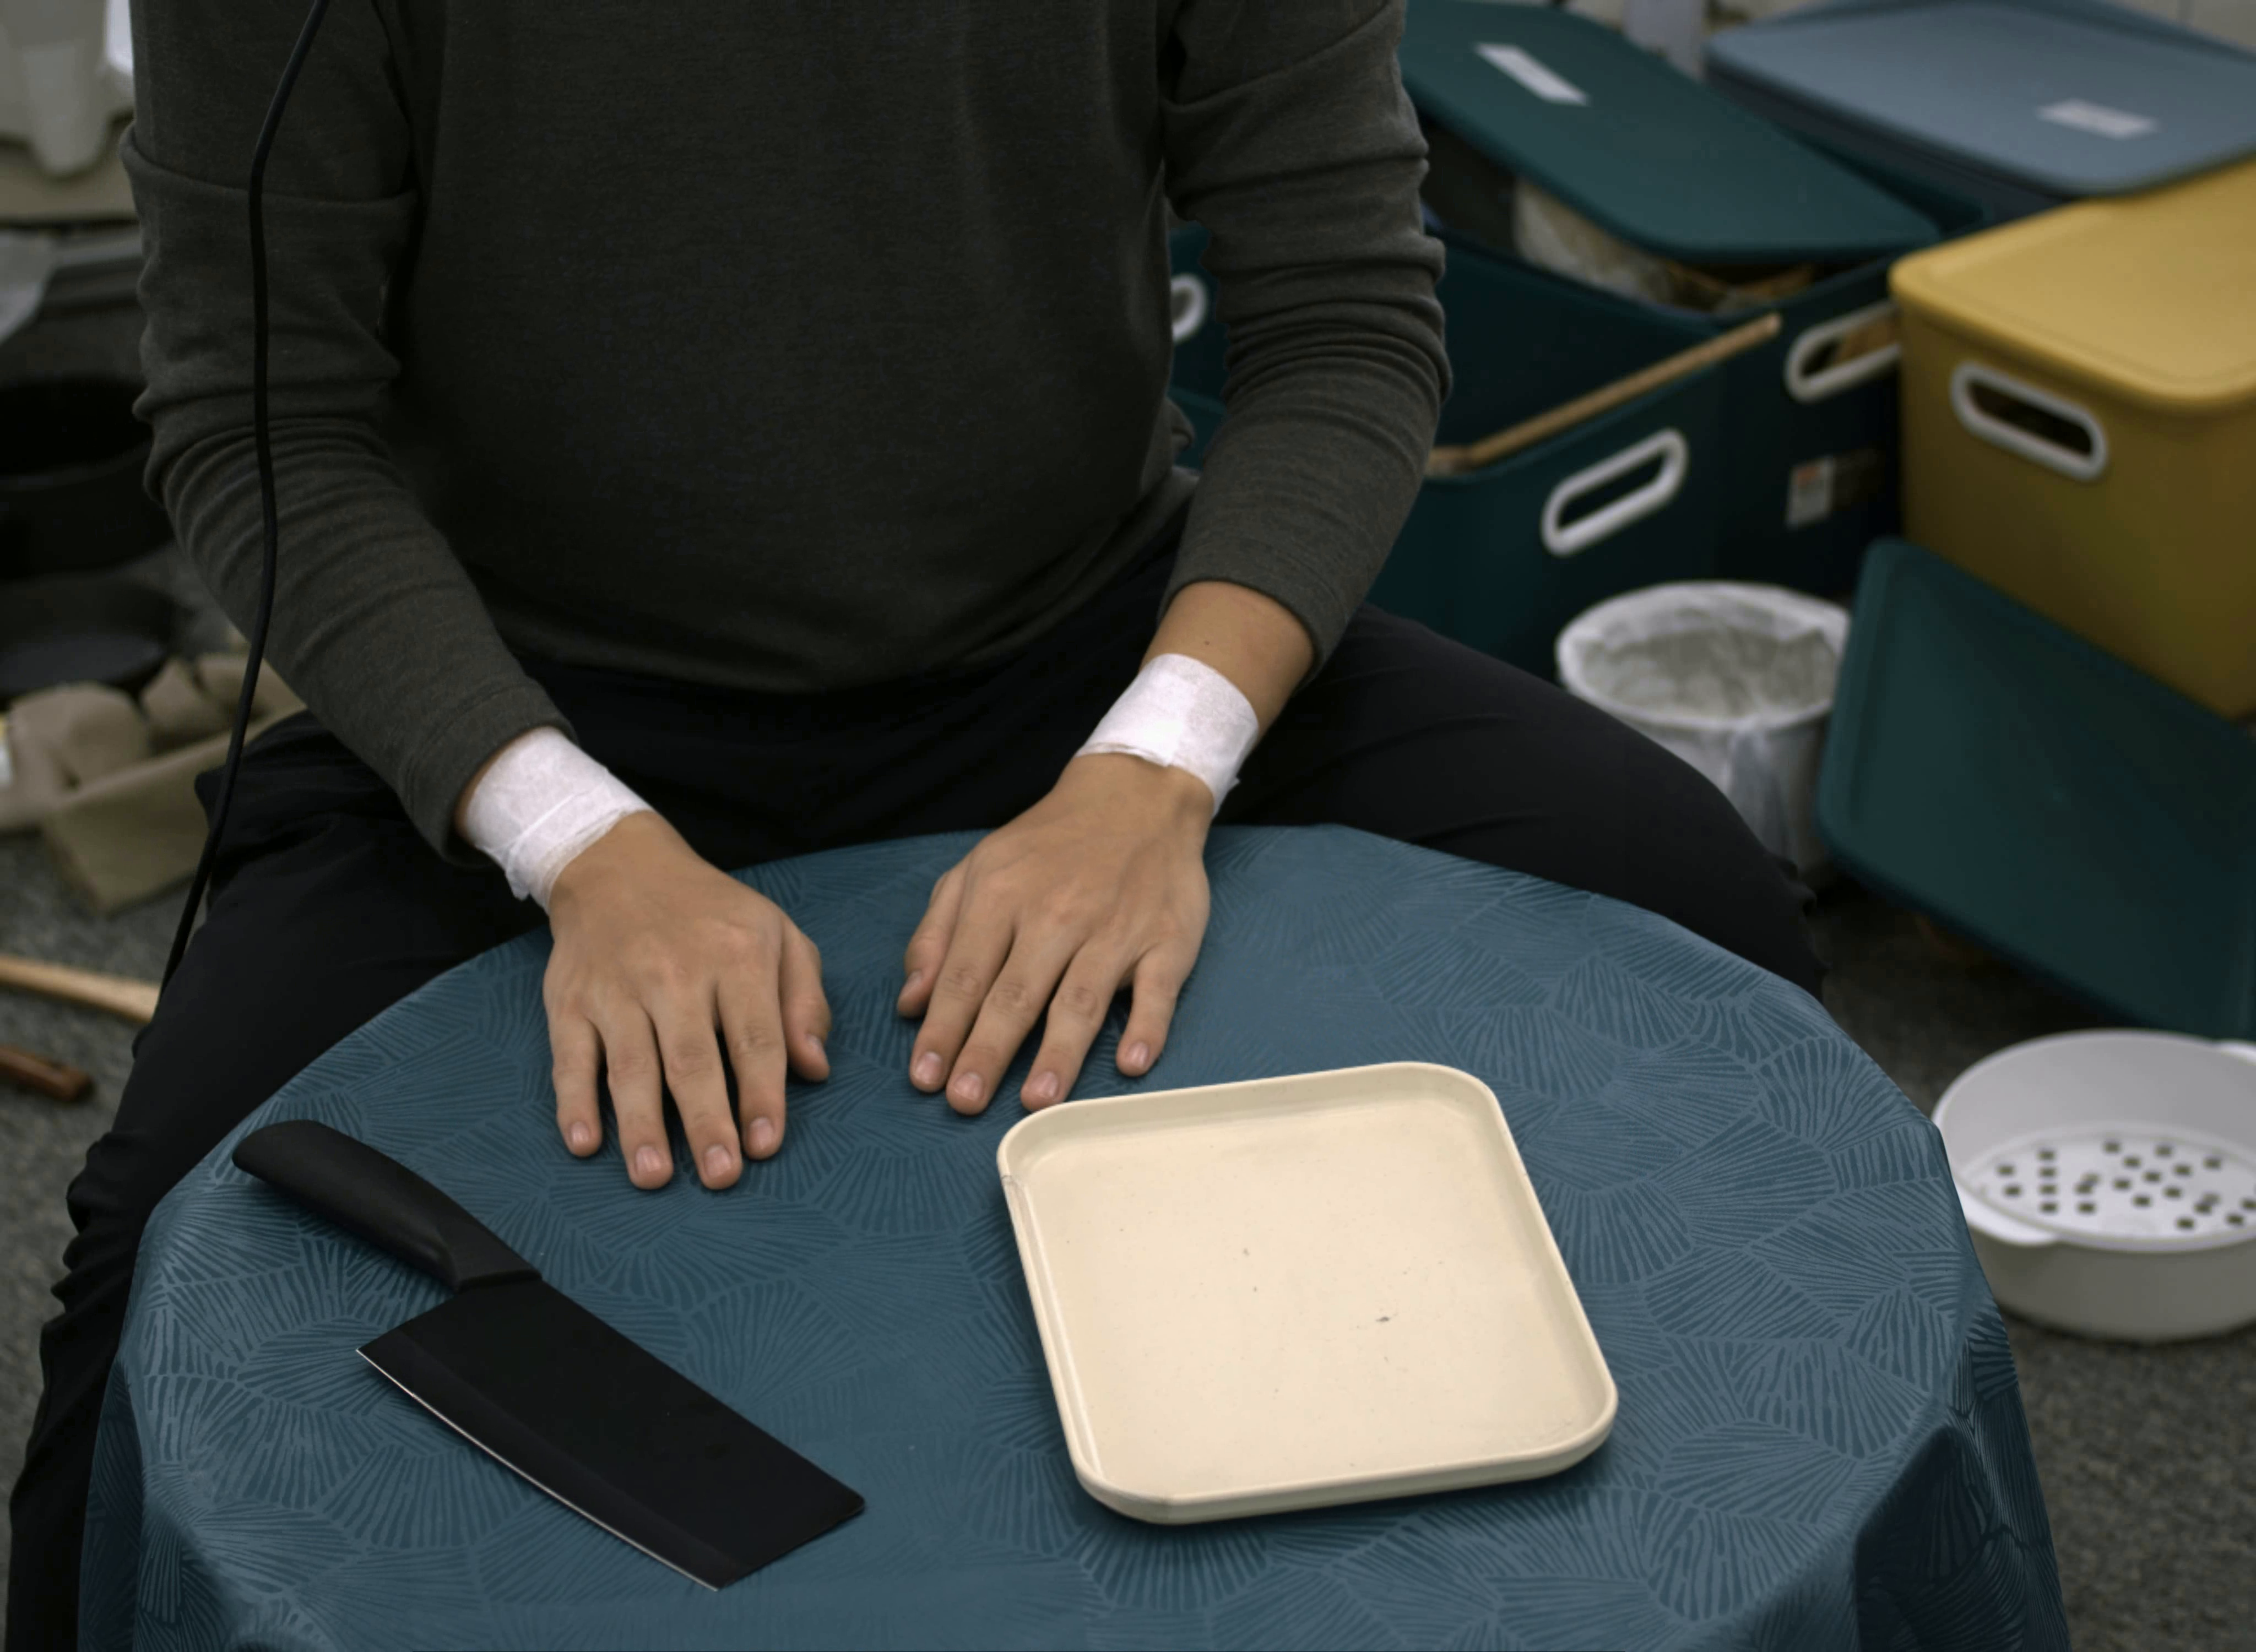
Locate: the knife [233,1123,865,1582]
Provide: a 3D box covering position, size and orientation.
[{"bbox_3d":[-0.198,0.164,1.783,0.081,0.020,0.303,-22,35,-31],"label":"knife"}]

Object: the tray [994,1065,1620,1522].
[{"bbox_3d":[0.053,0.147,1.788,0.171,0.017,0.242,-6,27,-7],"label":"tray"}]
